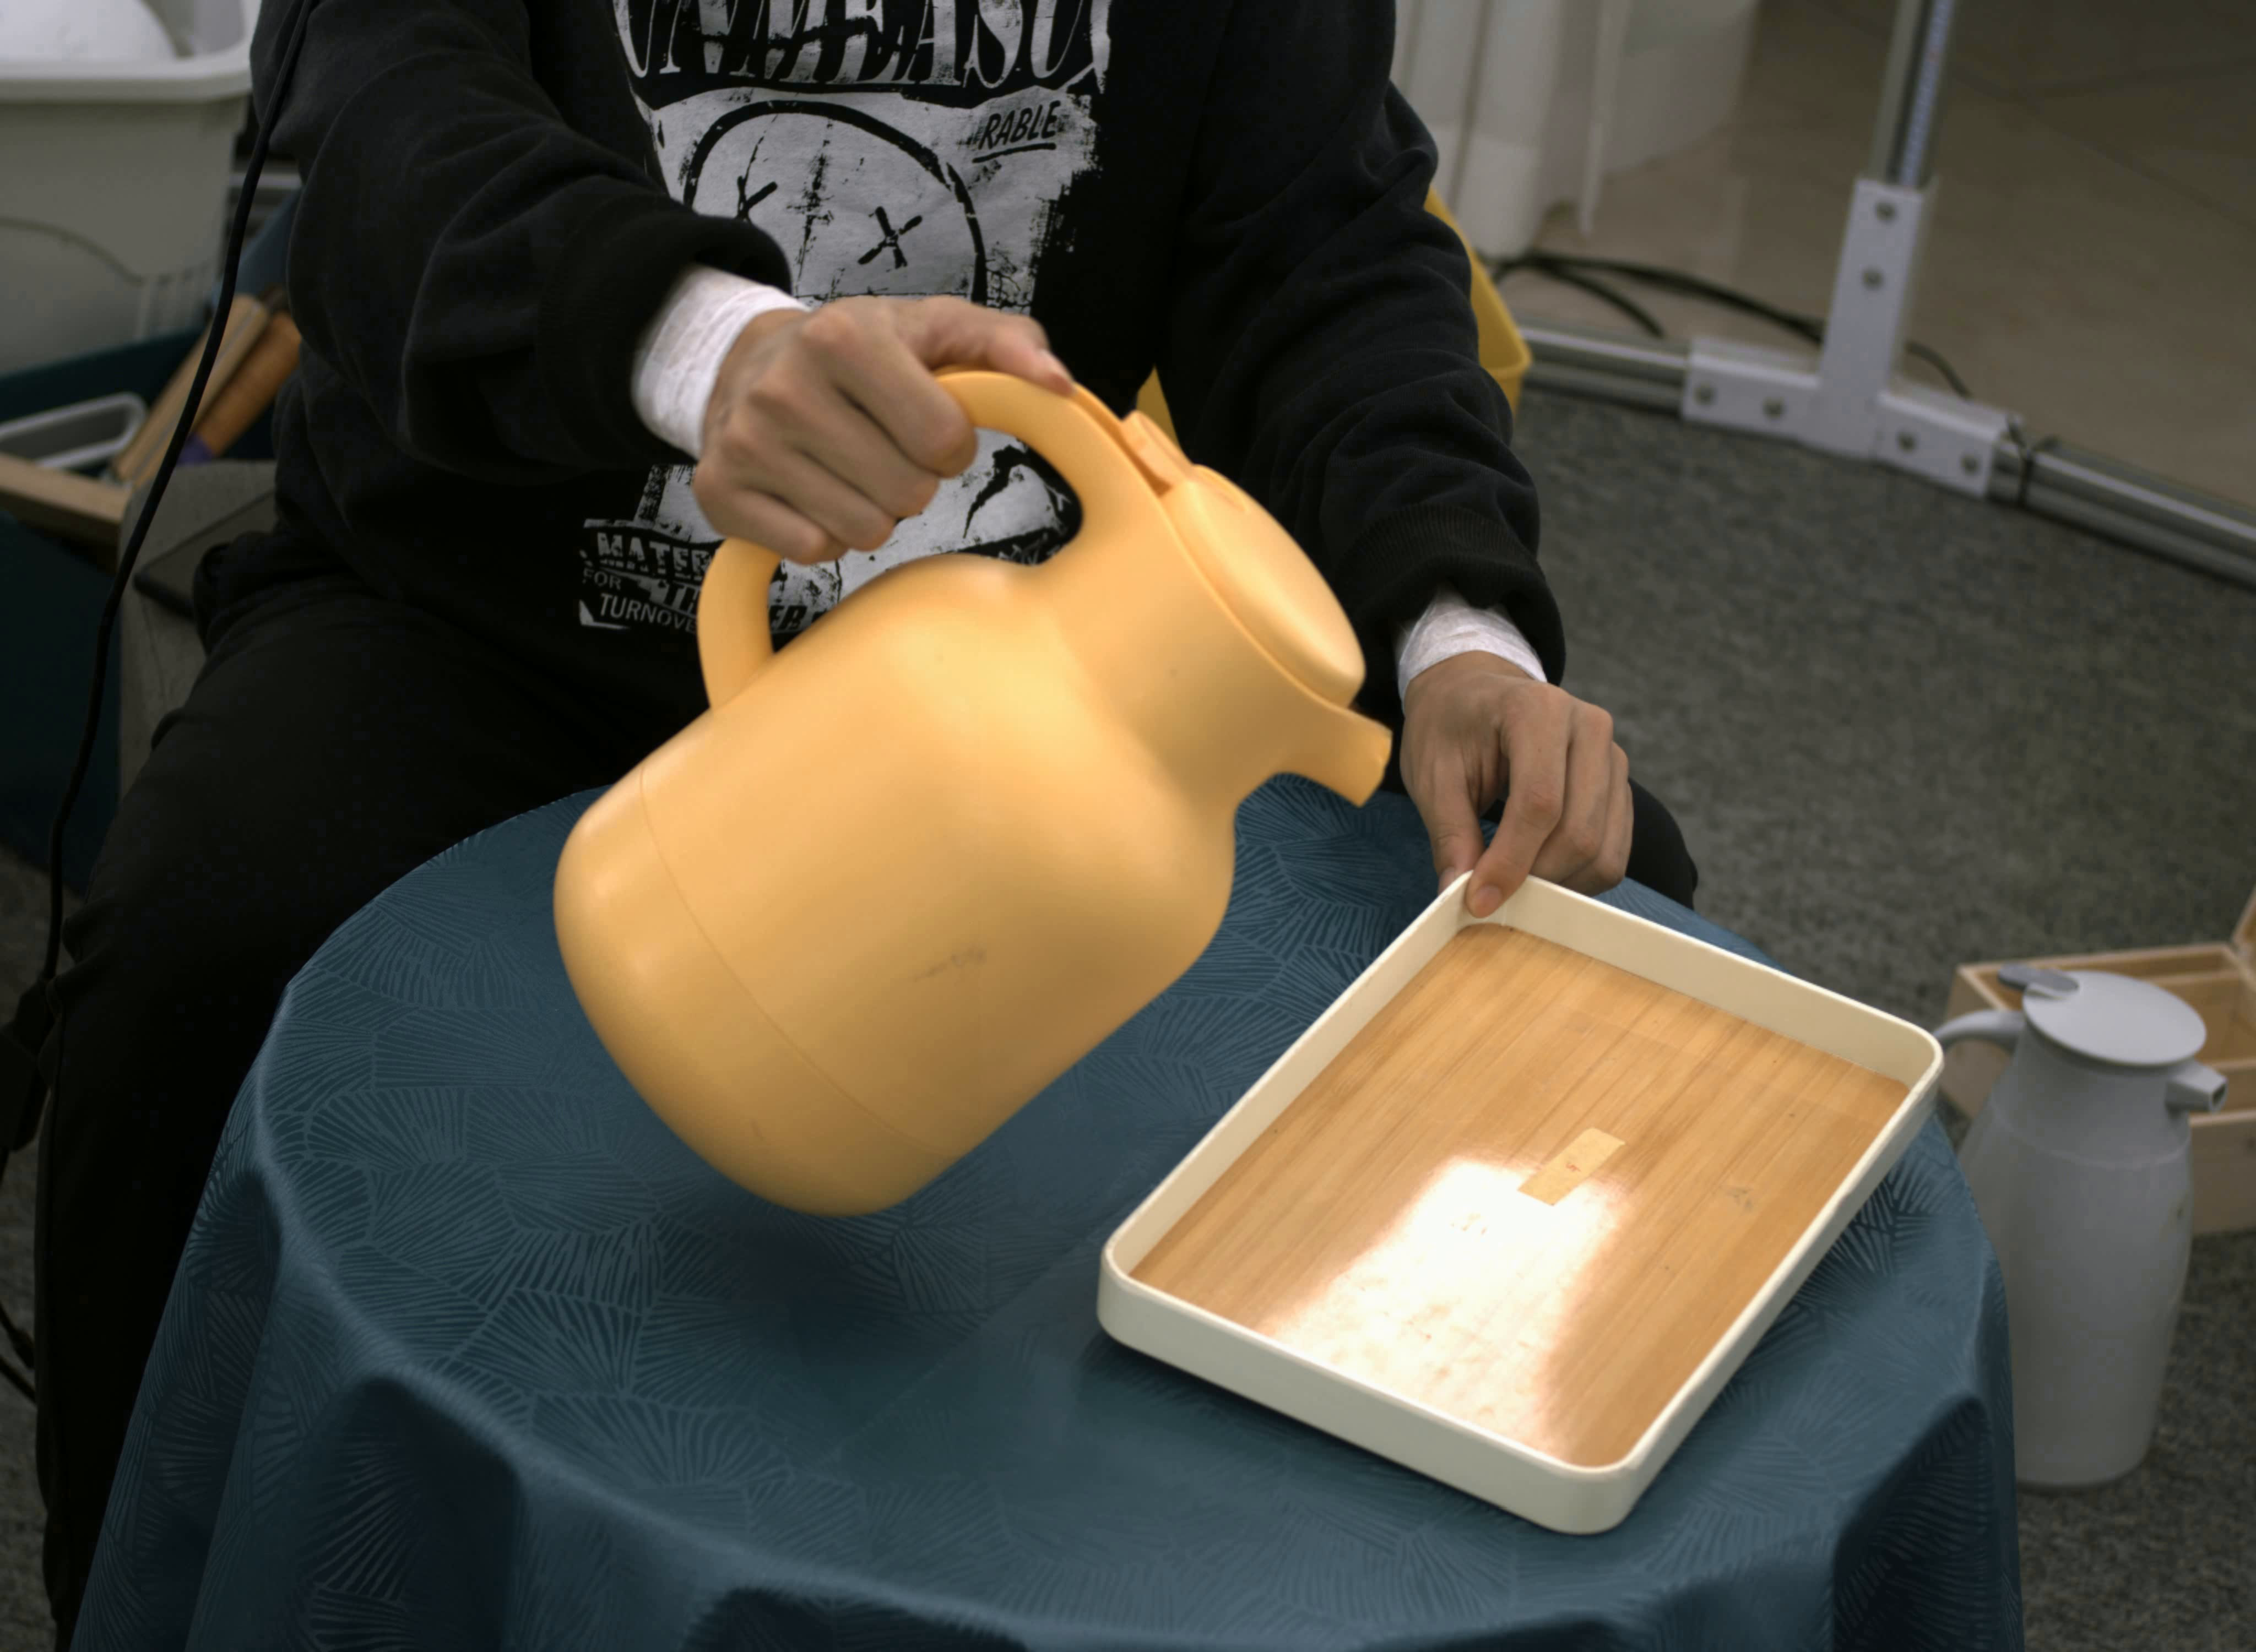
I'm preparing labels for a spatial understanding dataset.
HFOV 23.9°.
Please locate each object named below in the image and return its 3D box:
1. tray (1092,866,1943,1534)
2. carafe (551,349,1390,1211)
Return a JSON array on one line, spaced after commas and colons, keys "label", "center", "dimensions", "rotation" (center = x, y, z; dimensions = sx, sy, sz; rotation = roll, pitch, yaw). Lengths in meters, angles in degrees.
[{"label": "tray", "center": [0.135, 0.118, 1.782], "dimensions": [0.192, 0.027, 0.300], "rotation": [22, 35, 21]}, {"label": "carafe", "center": [-0.059, -0.022, 1.681], "dimensions": [0.202, 0.260, 0.163], "rotation": [51, 12, -3]}]
